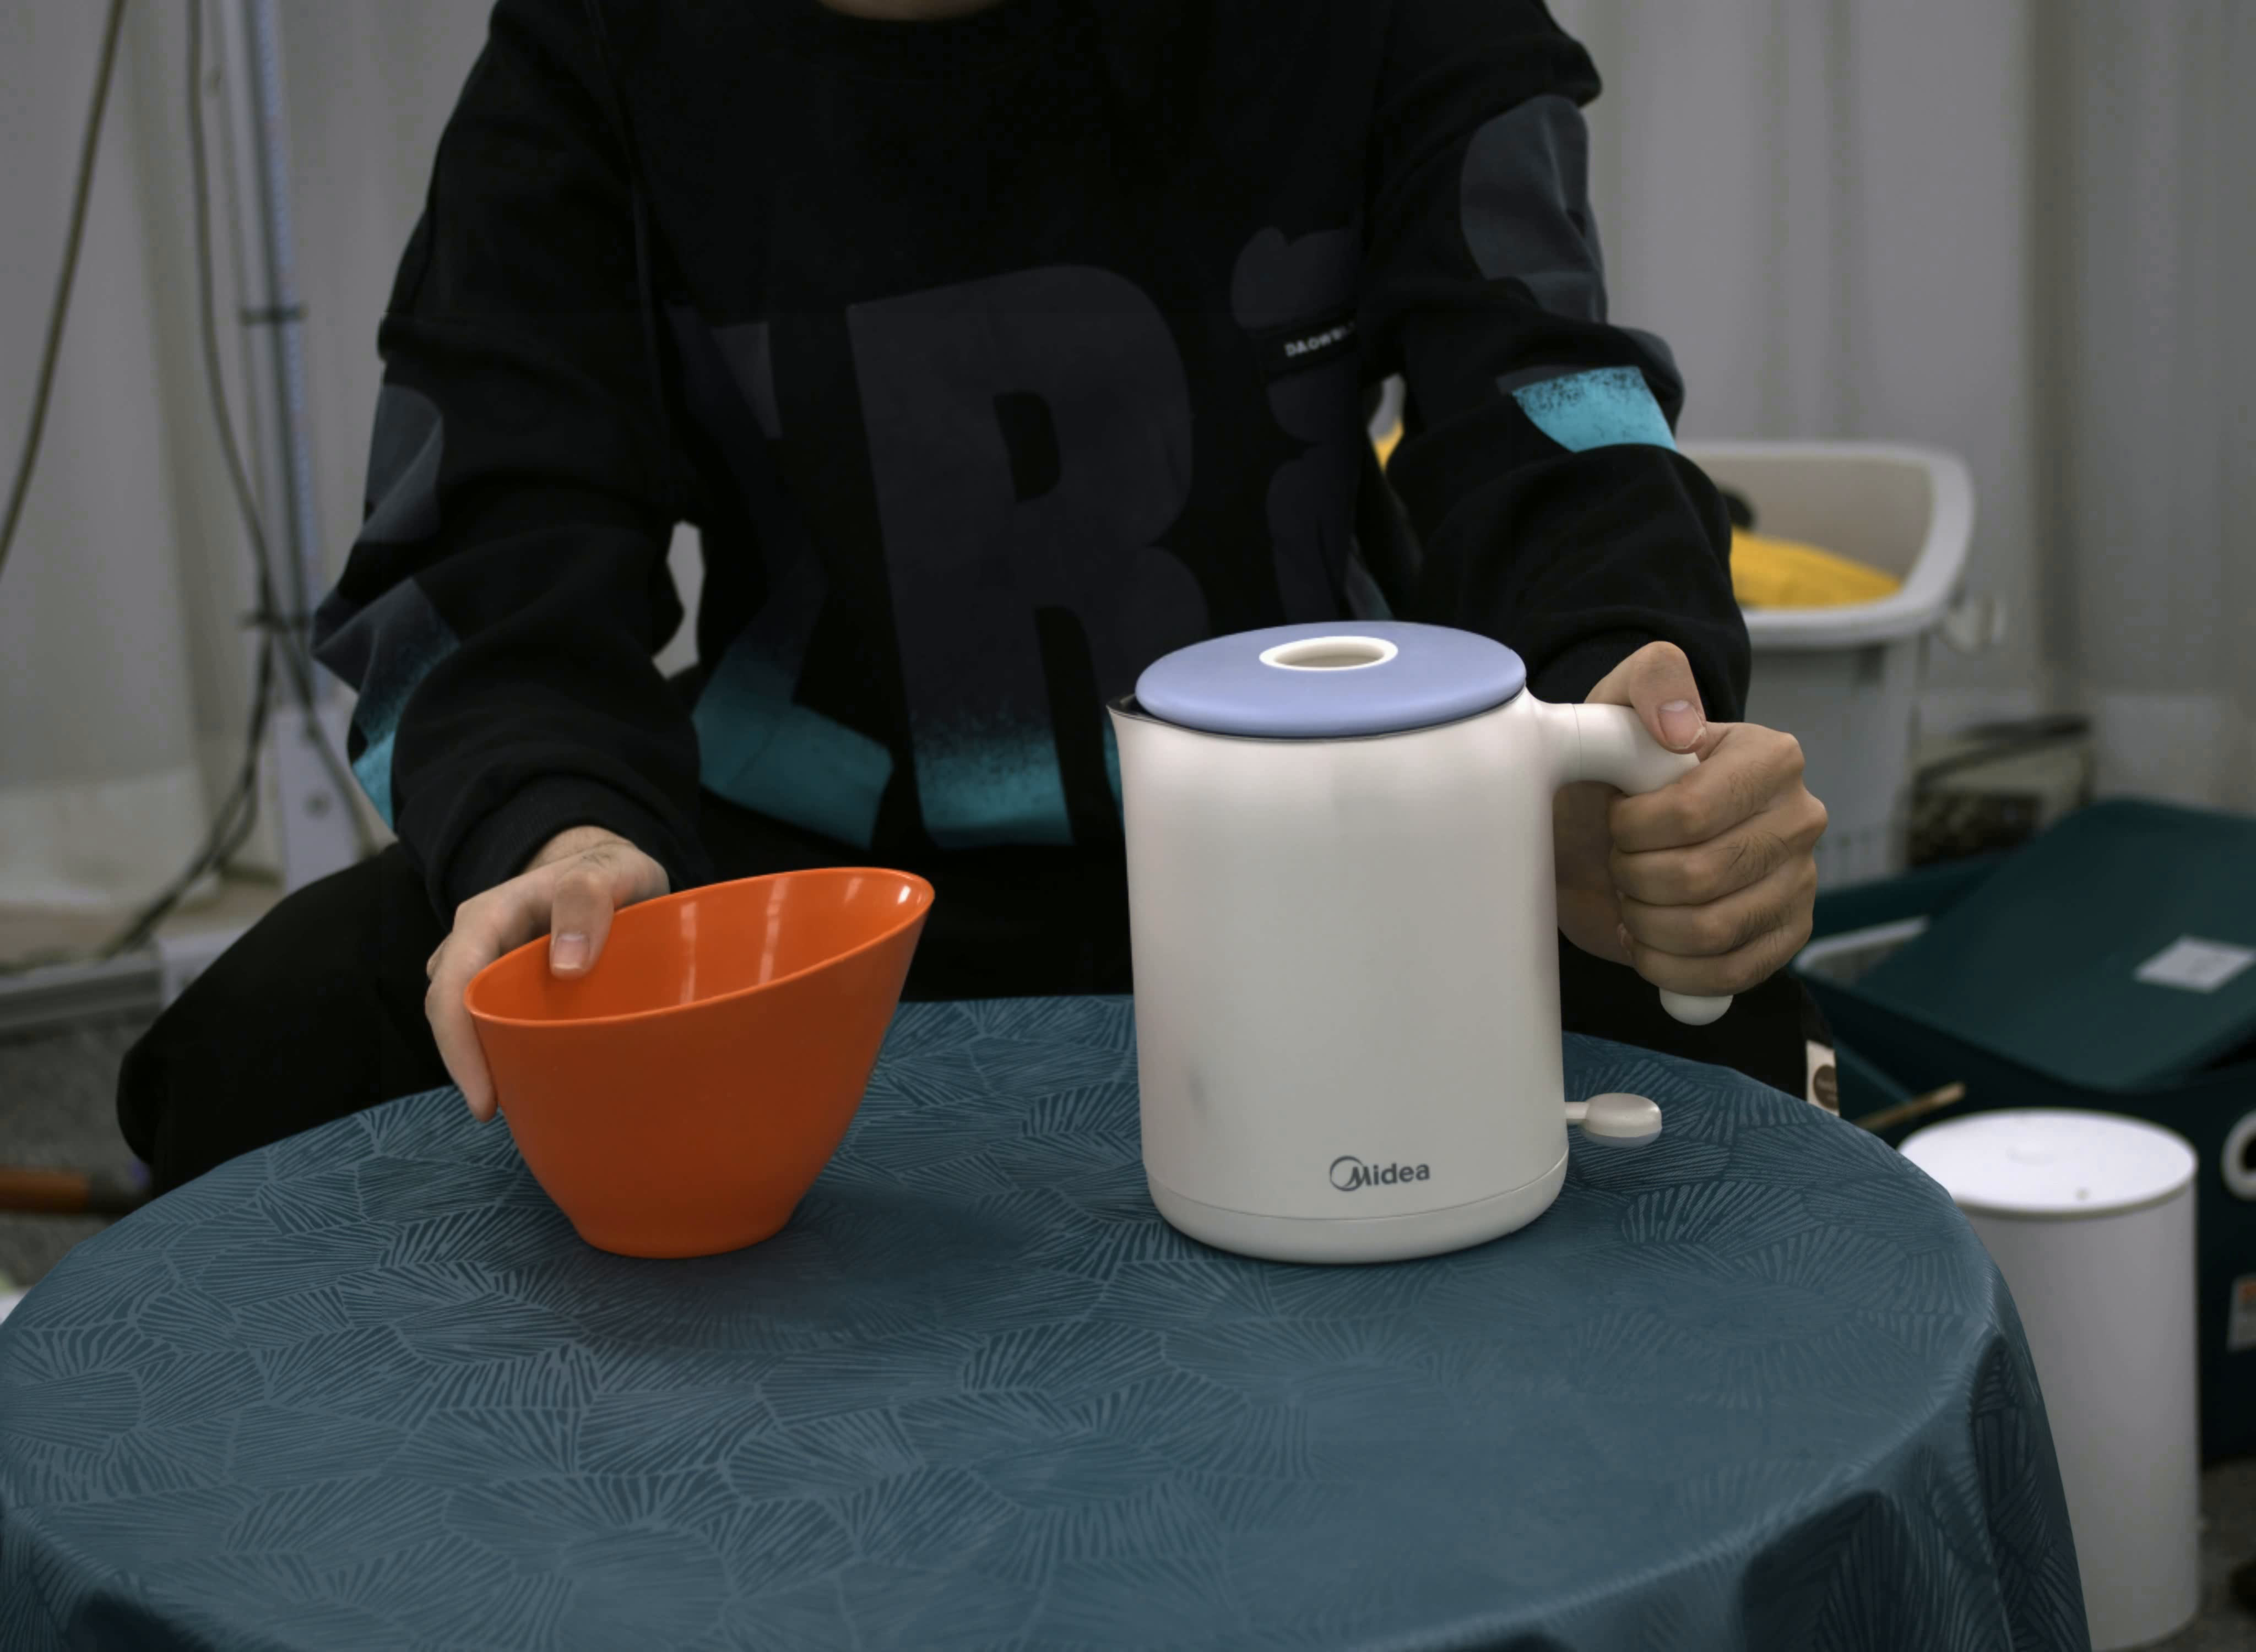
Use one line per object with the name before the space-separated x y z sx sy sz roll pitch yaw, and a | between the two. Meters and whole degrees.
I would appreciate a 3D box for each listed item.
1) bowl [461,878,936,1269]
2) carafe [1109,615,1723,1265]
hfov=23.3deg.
bowl | -0.131 0.077 1.687 0.147 0.104 0.149 -2 15 0
carafe | 0.089 0.033 1.675 0.190 0.182 0.133 -2 15 -6
